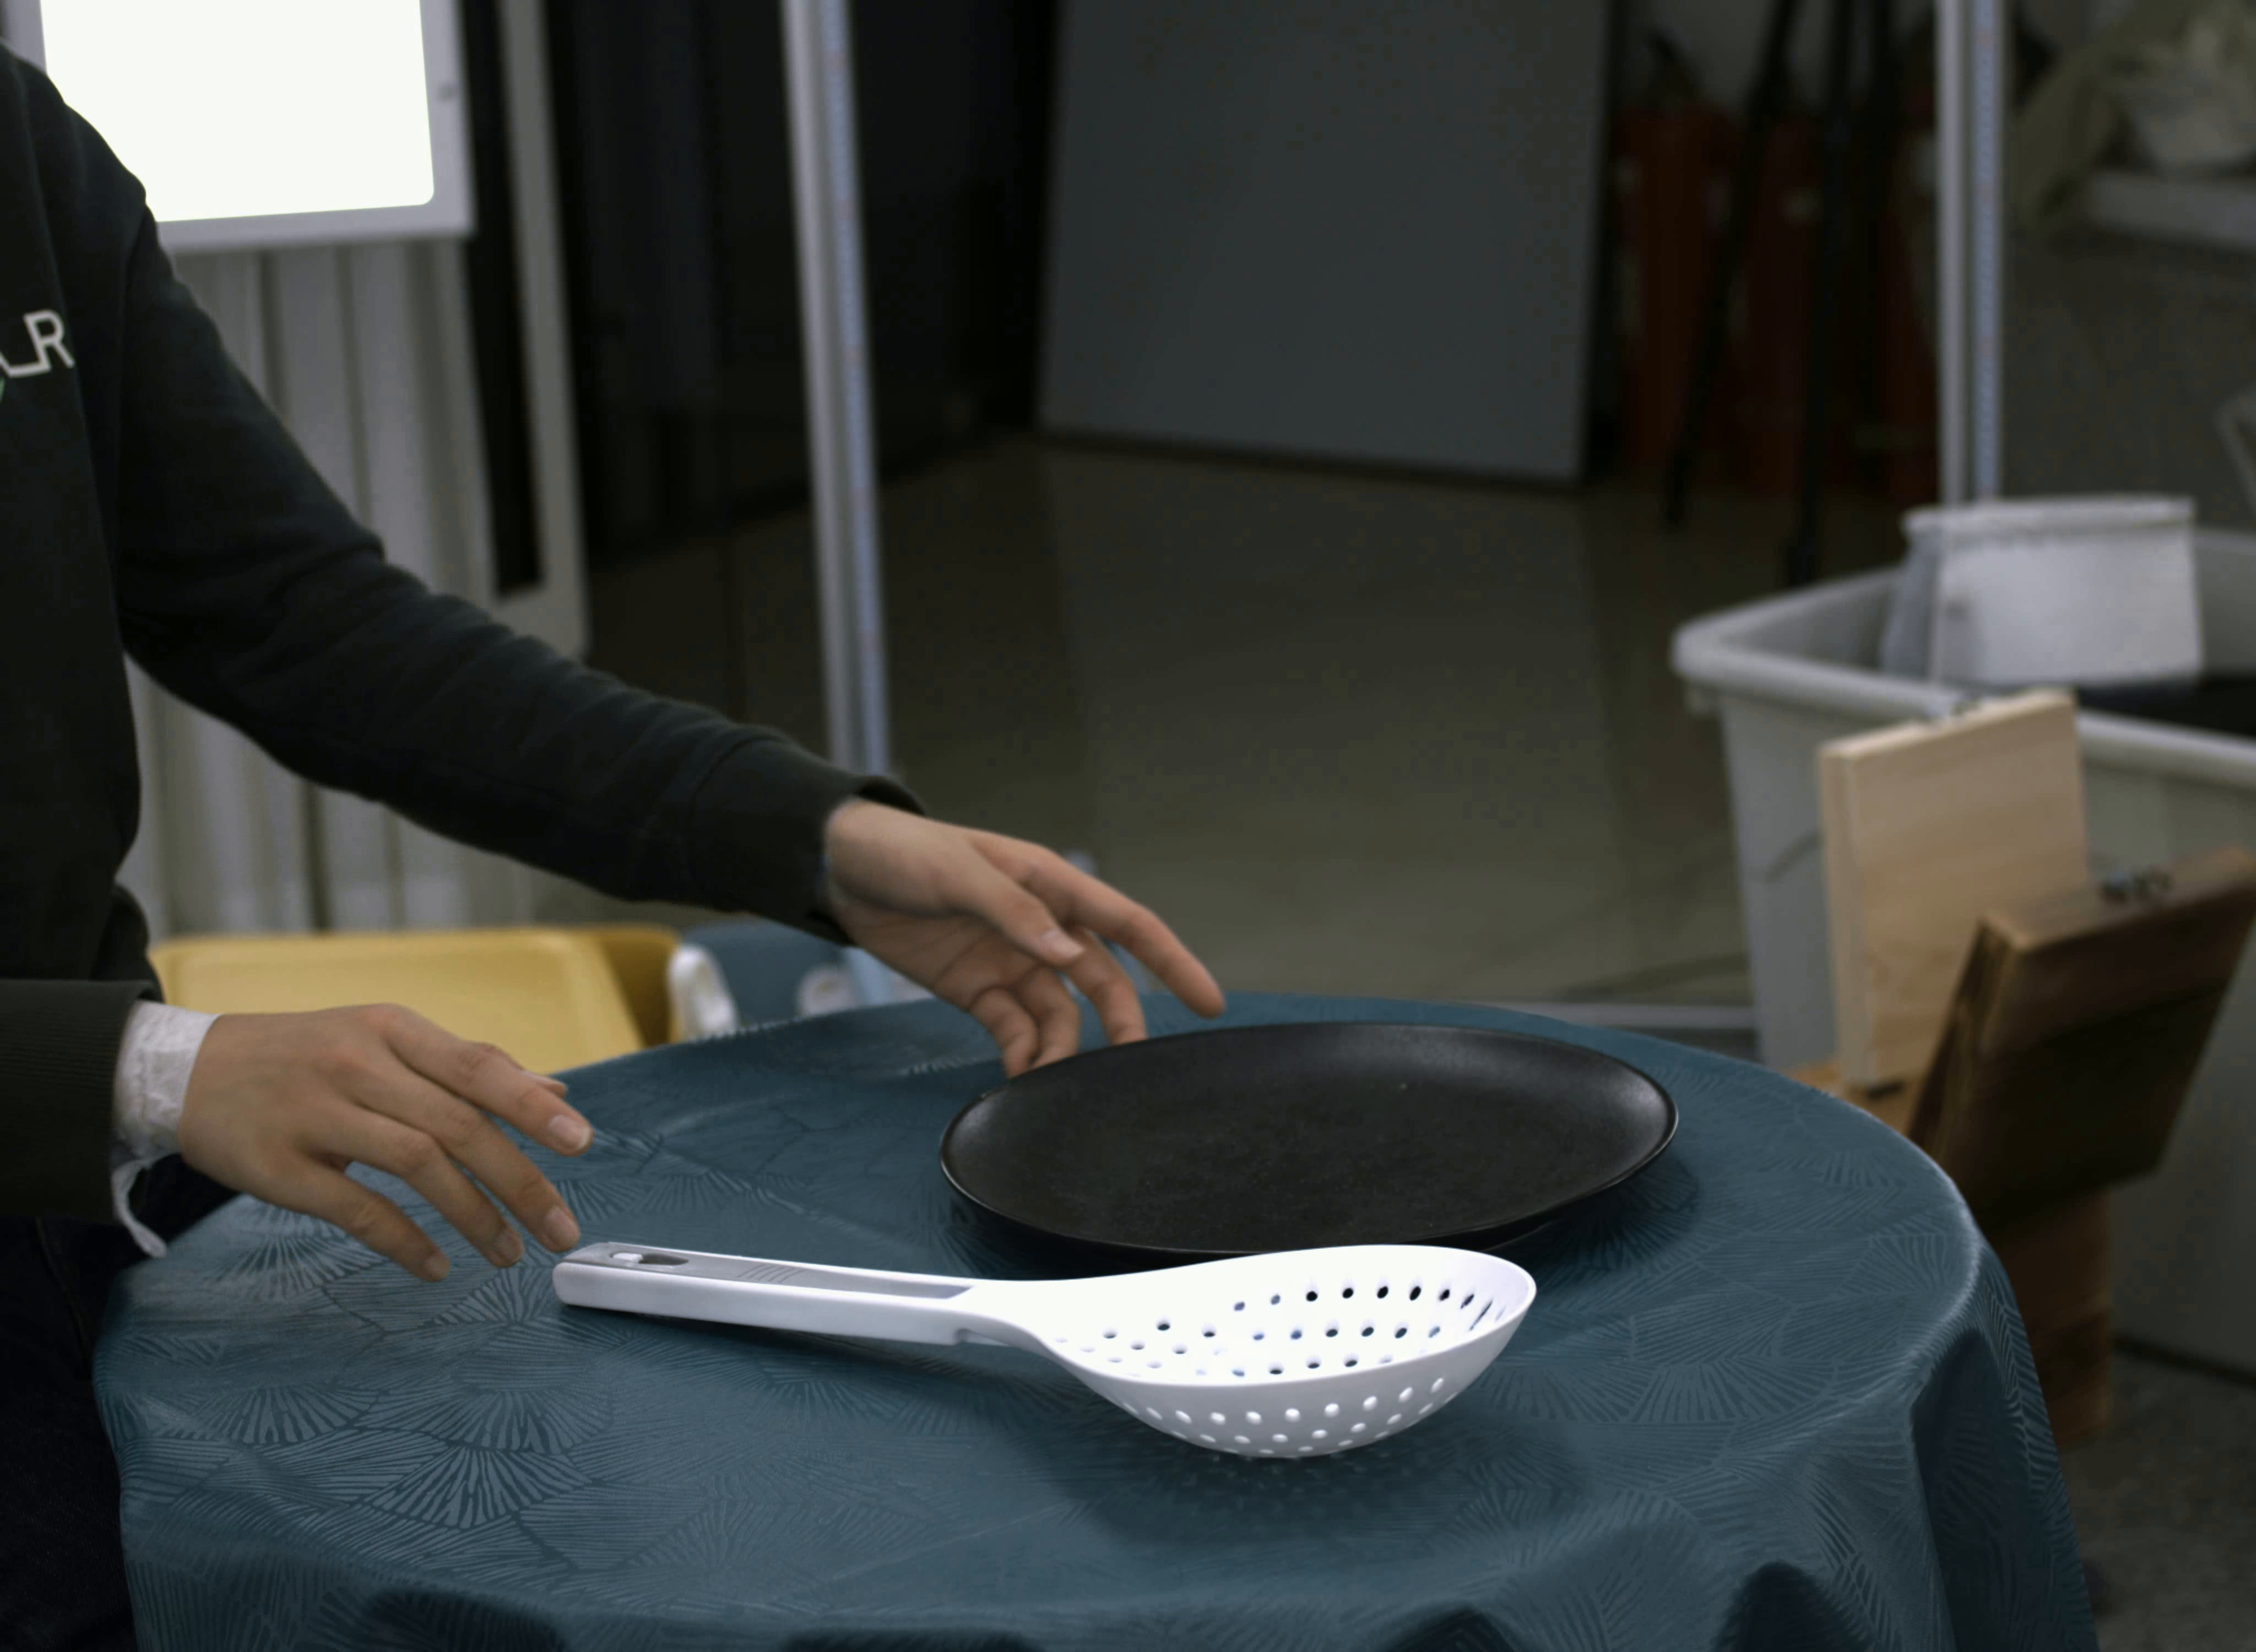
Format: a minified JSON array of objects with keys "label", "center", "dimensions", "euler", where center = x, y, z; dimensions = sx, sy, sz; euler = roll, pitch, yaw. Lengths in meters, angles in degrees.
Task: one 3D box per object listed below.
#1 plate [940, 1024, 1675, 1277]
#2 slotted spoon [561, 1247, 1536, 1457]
[{"label":"plate","center":[0.059,0.109,1.756],"dimensions":[0.241,0.024,0.245],"euler":[-4,14,0]},{"label":"slotted spoon","center":[-0.035,0.144,1.593],"dimensions":[0.352,0.046,0.133],"euler":[6,15,38]}]
